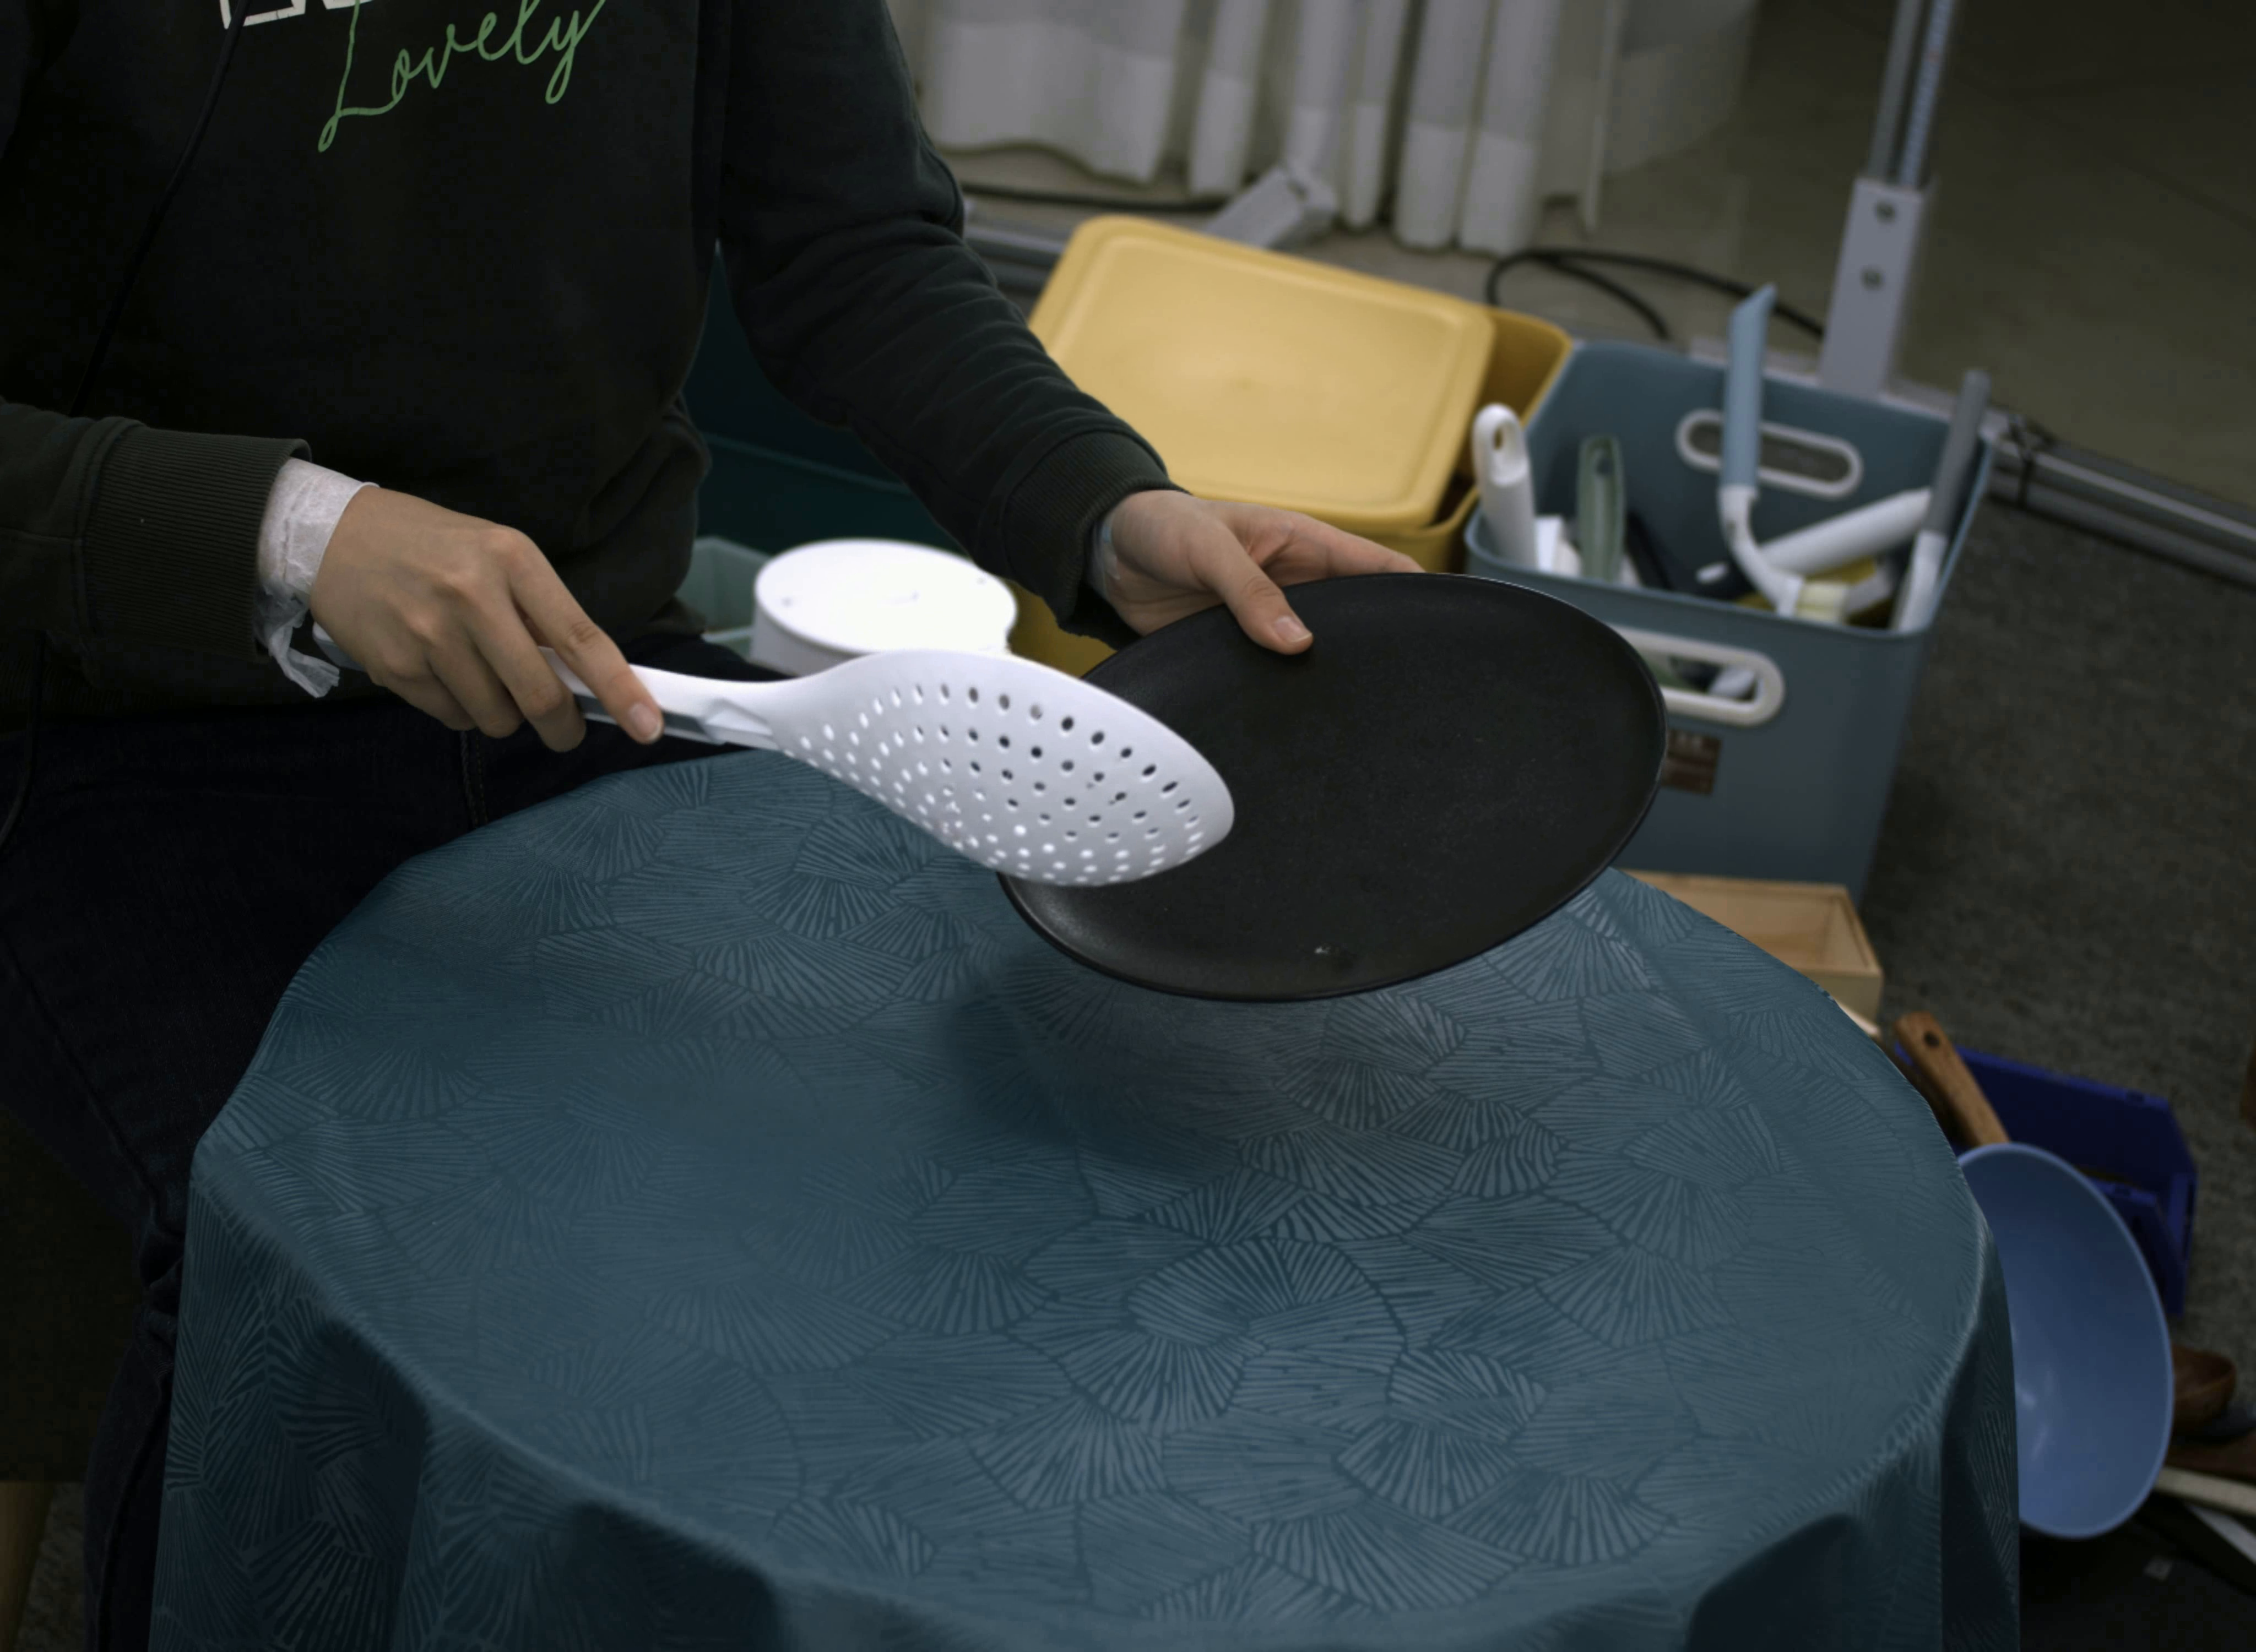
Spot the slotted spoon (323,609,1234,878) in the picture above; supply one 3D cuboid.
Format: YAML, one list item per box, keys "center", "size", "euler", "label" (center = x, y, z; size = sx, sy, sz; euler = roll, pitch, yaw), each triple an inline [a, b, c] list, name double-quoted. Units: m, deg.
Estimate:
- center: [-0.127, -0.039, 1.821]
  size: [0.351, 0.135, 0.046]
  euler: [15, 65, 27]
  label: "slotted spoon"

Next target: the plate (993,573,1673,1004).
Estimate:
- center: [0.072, -0.010, 1.872]
  size: [0.244, 0.023, 0.246]
  euler: [-10, 36, 7]
  label: "plate"
